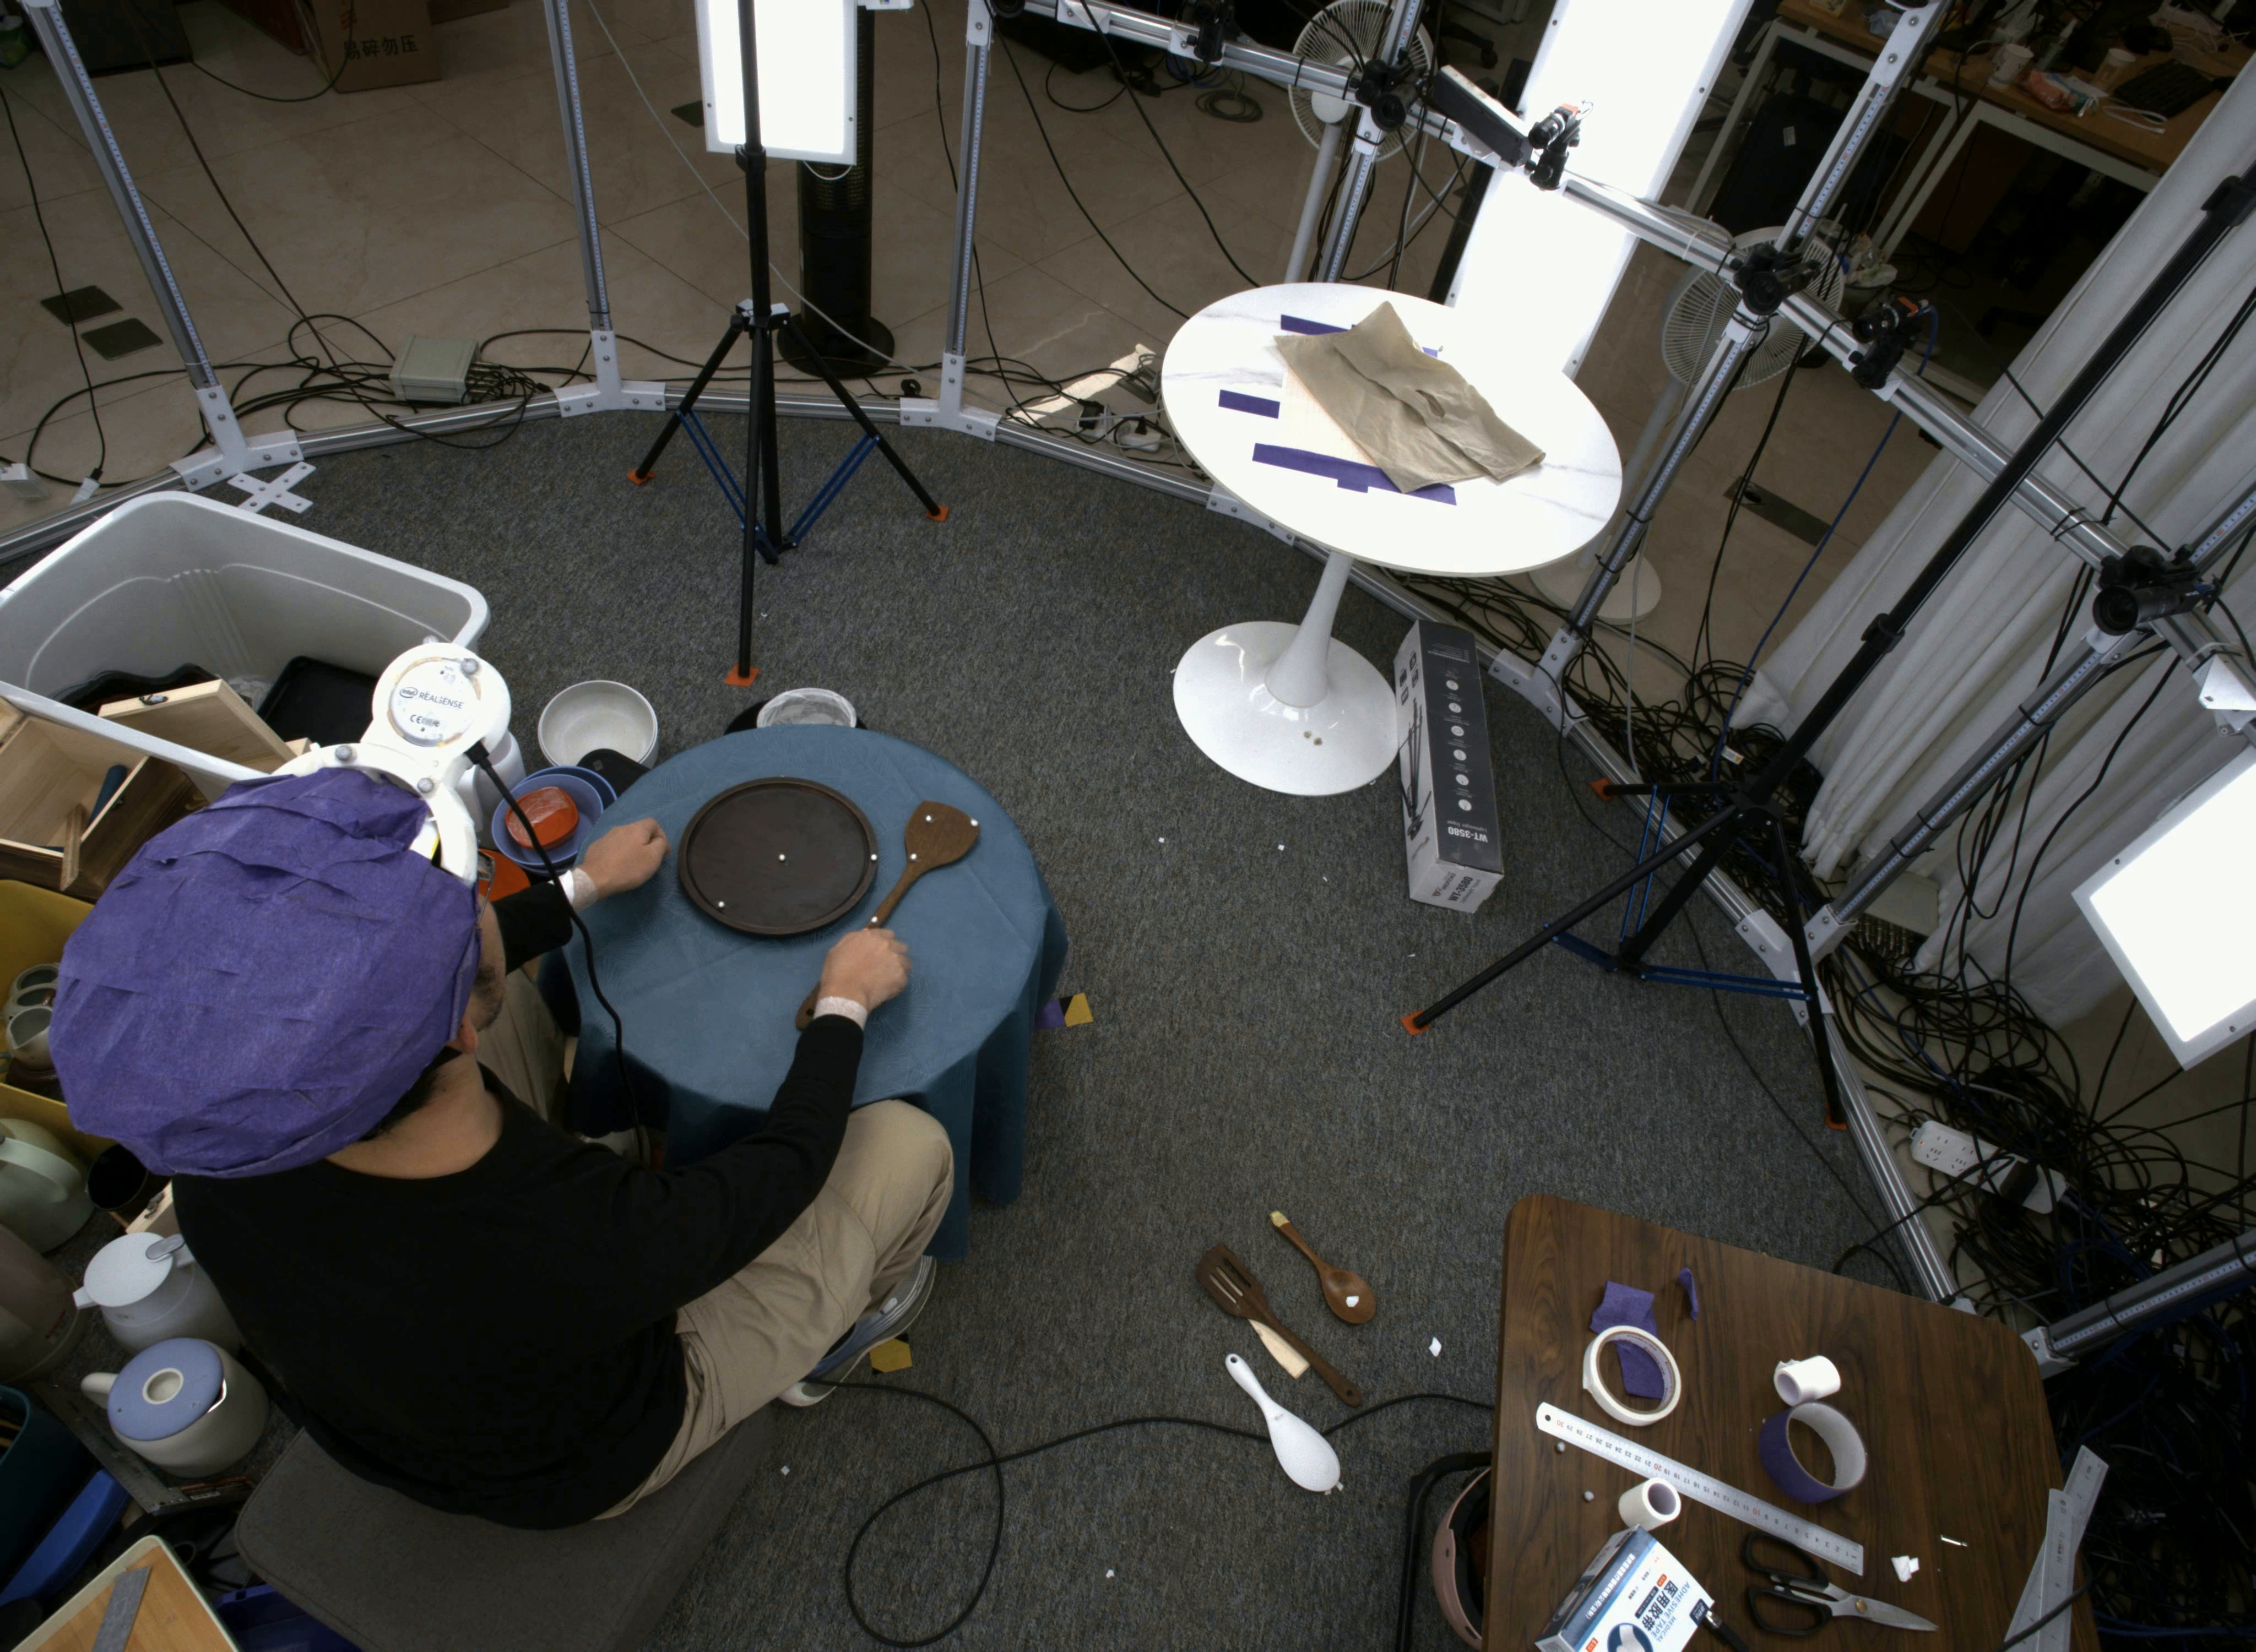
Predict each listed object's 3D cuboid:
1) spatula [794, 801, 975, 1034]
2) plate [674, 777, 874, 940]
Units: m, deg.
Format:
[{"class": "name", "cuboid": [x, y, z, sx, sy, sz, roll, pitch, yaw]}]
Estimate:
[{"class": "spatula", "cuboid": [-0.316, 0.109, 1.656, 0.095, 0.016, 0.383, 25, 52, 6]}, {"class": "plate", "cuboid": [-0.454, 0.038, 1.667, 0.254, 0.029, 0.250, 9, 52, -10]}]
